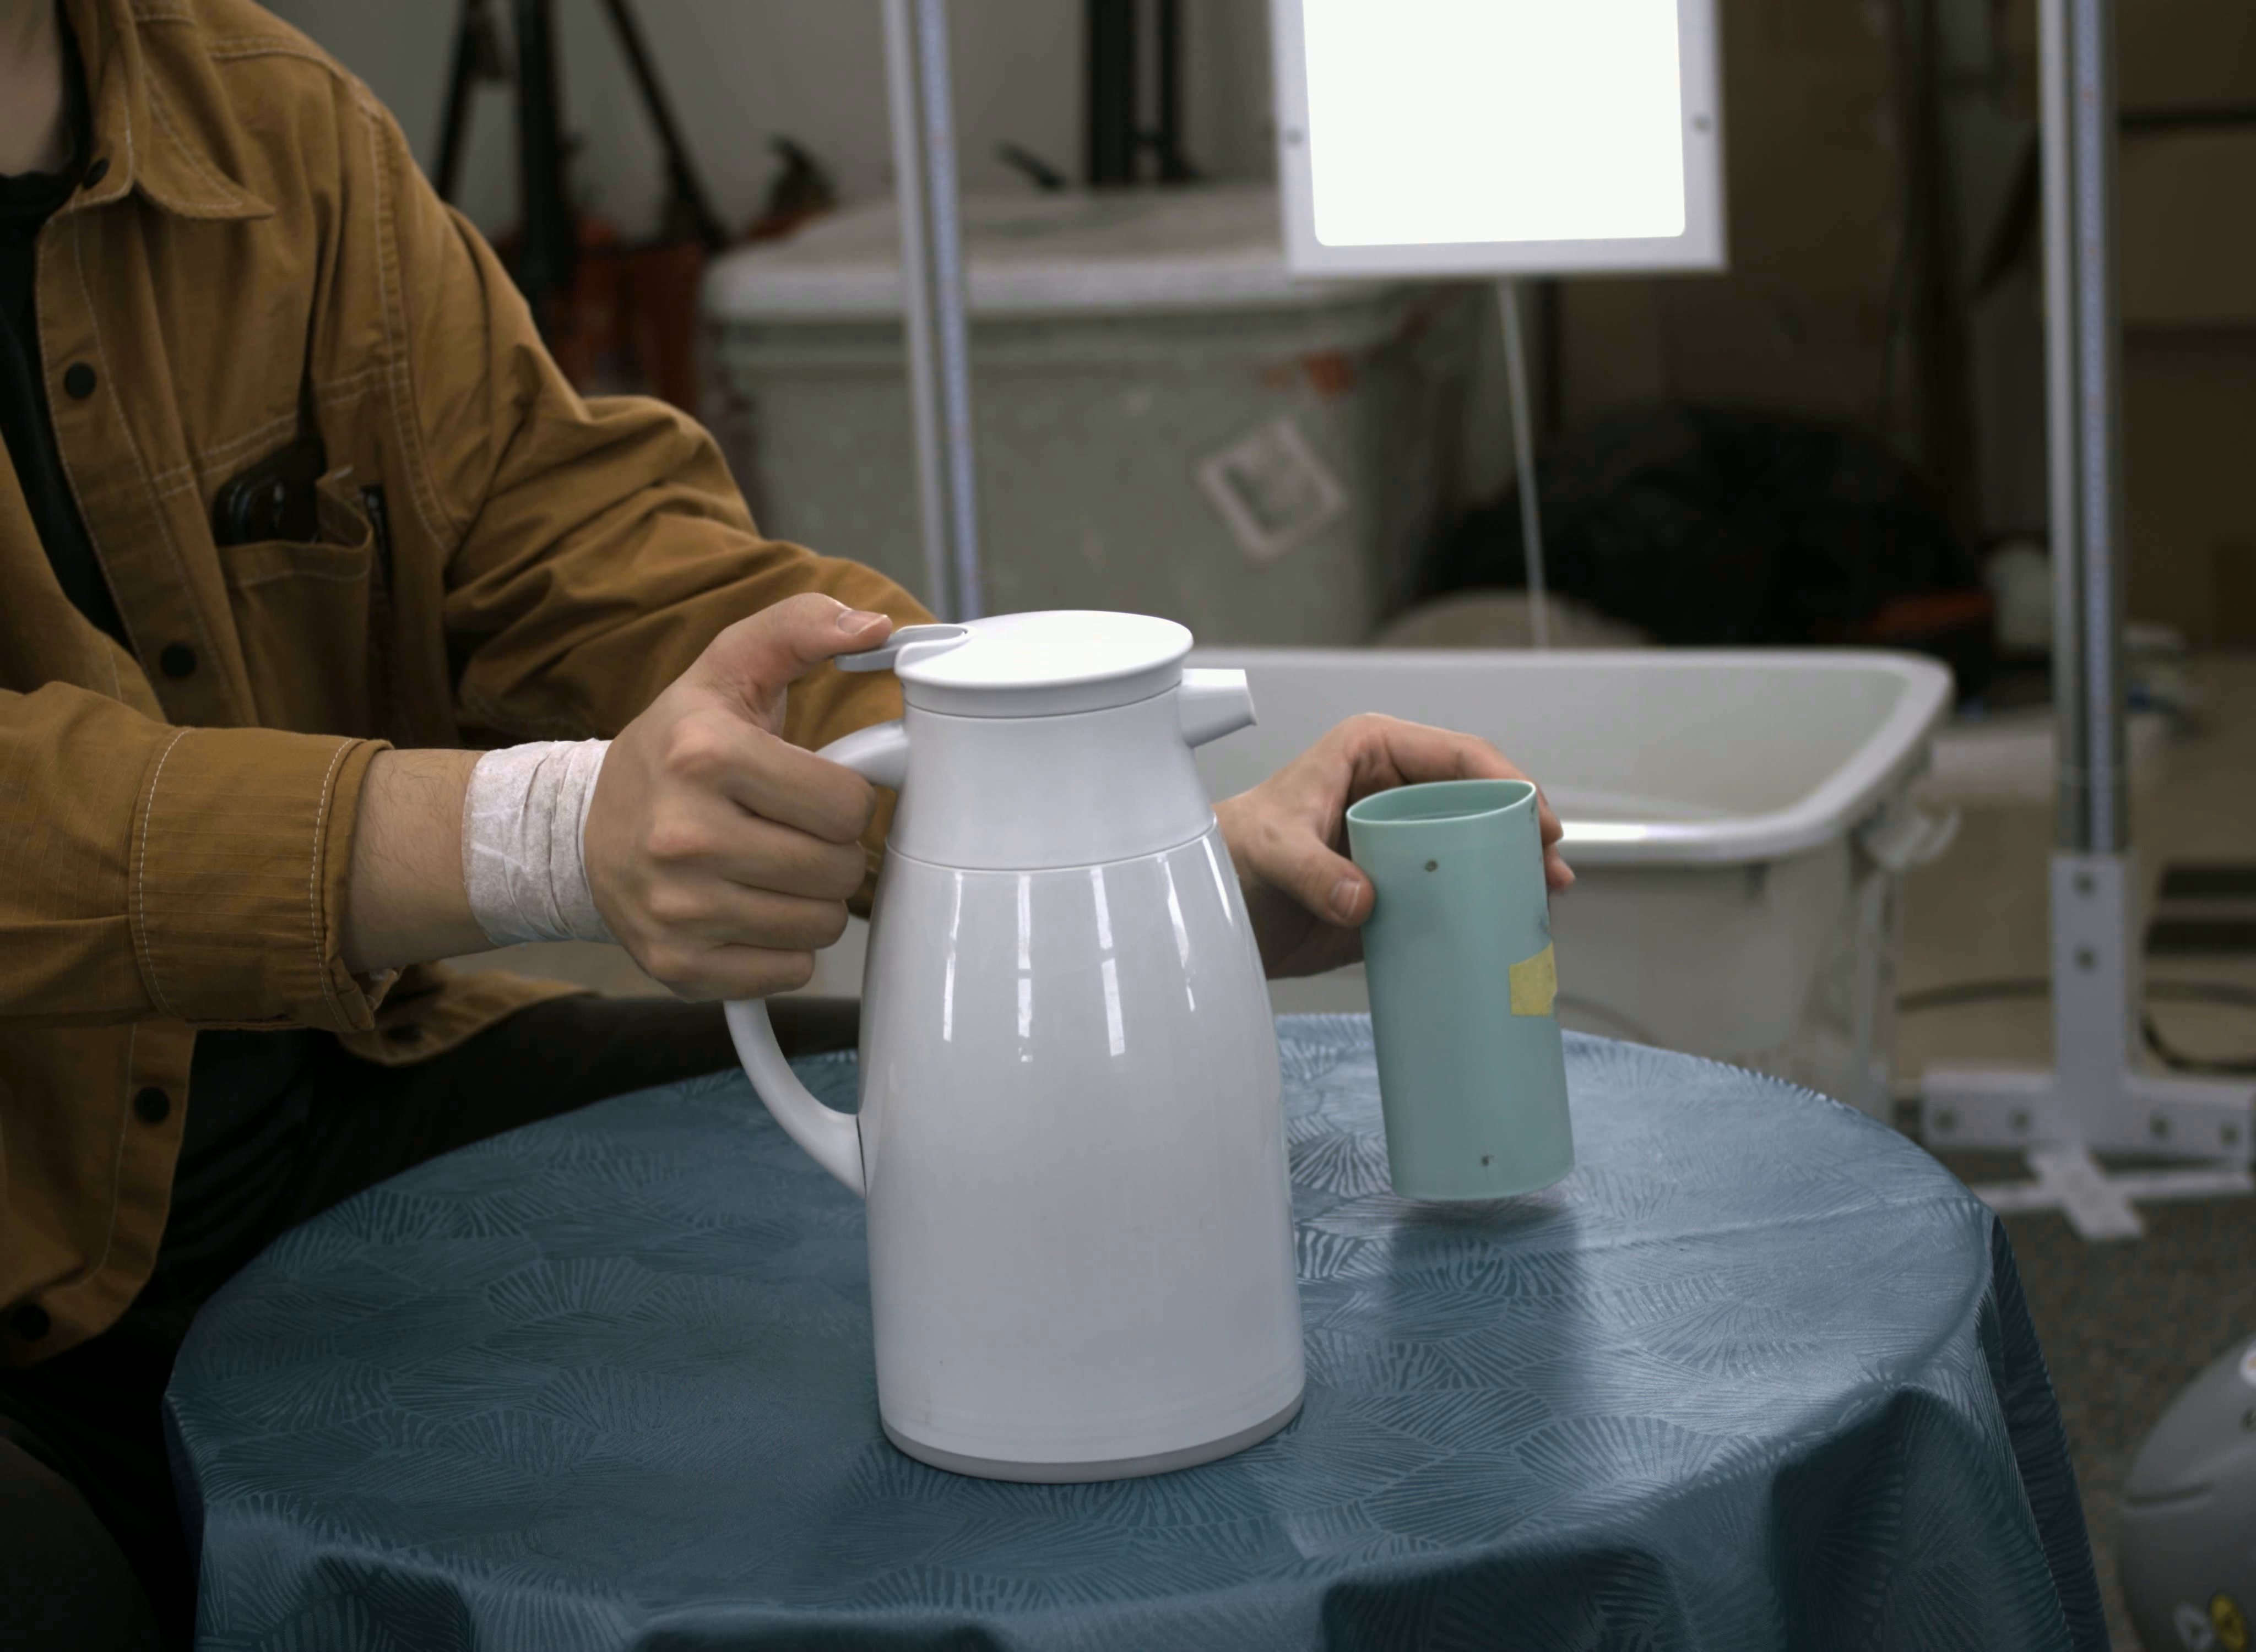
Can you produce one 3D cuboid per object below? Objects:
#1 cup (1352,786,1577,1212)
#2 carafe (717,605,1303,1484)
[{"bbox_3d":[0.112,0.057,1.836,0.066,0.133,0.066,-6,11,0],"label":"cup"},{"bbox_3d":[-0.038,0.061,1.658,0.167,0.249,0.132,-4,14,0],"label":"carafe"}]
